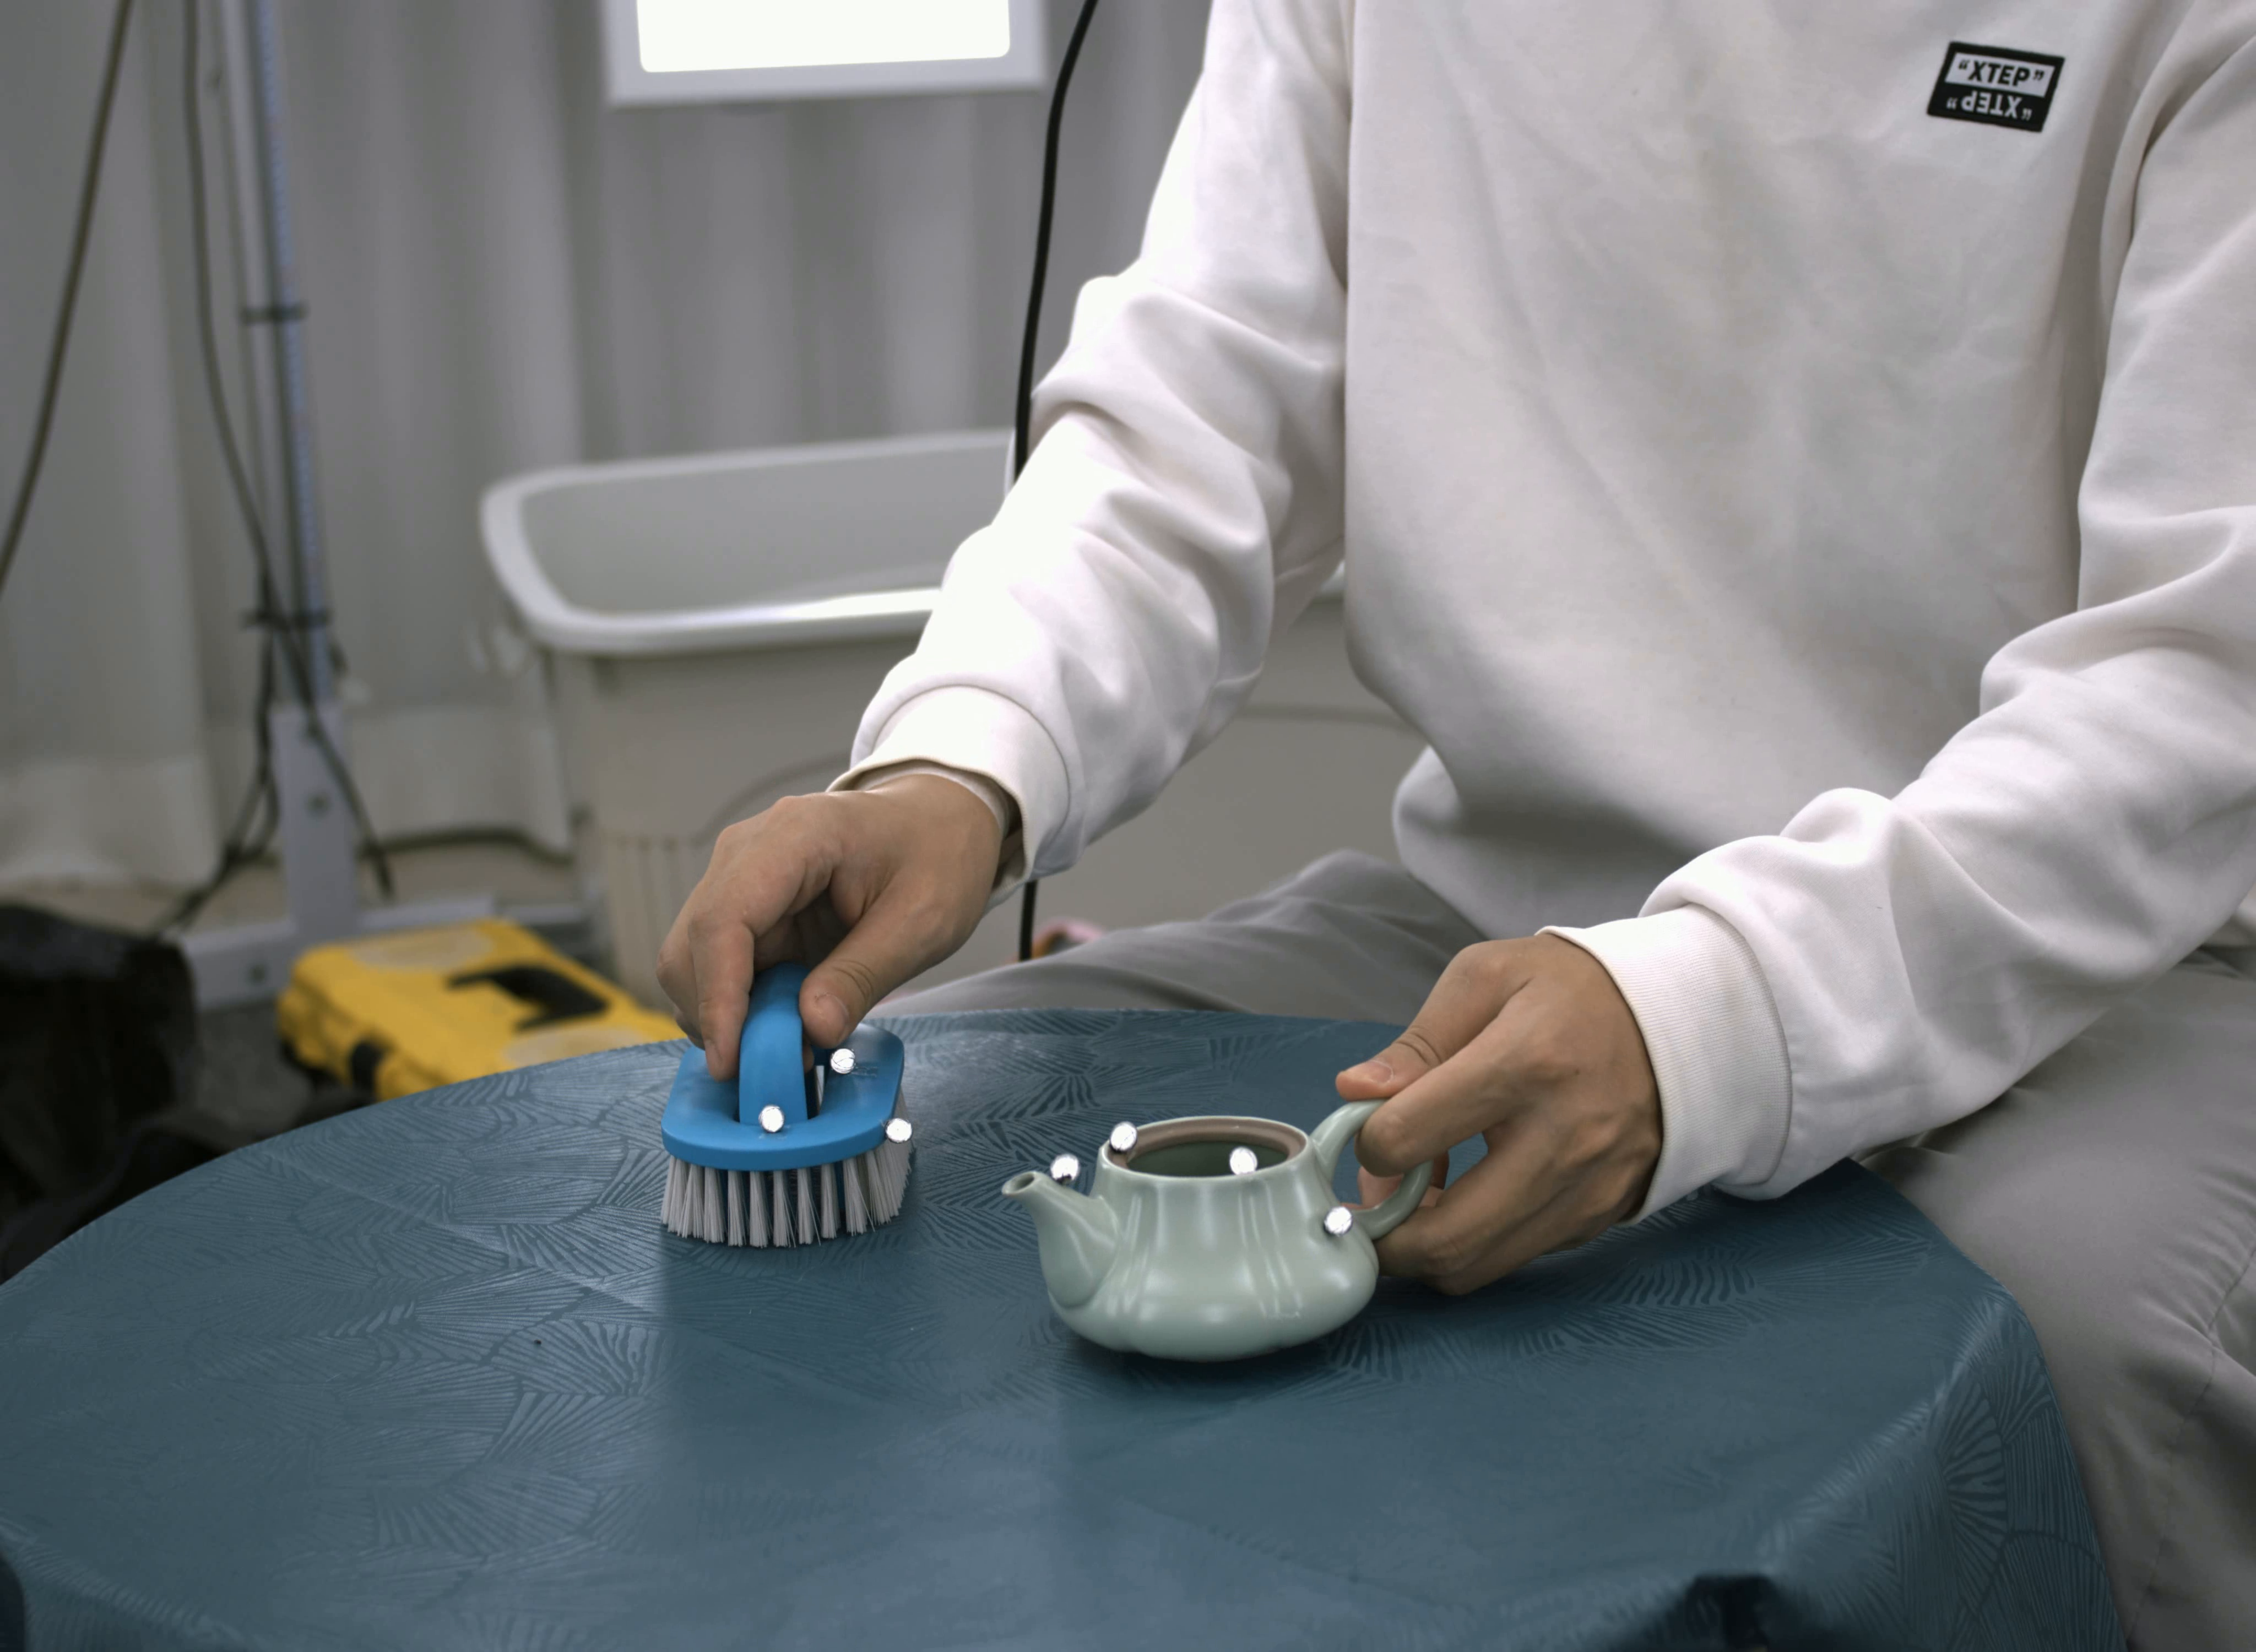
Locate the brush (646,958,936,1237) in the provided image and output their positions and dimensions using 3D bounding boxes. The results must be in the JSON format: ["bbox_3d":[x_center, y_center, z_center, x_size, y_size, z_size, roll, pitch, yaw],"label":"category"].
[{"bbox_3d":[-0.108,0.081,1.740,0.084,0.063,0.142,-6,13,5],"label":"brush"}]

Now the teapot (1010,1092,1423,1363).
[{"bbox_3d":[0.028,0.118,1.585,0.136,0.061,0.097,-12,14,-27],"label":"teapot"}]
